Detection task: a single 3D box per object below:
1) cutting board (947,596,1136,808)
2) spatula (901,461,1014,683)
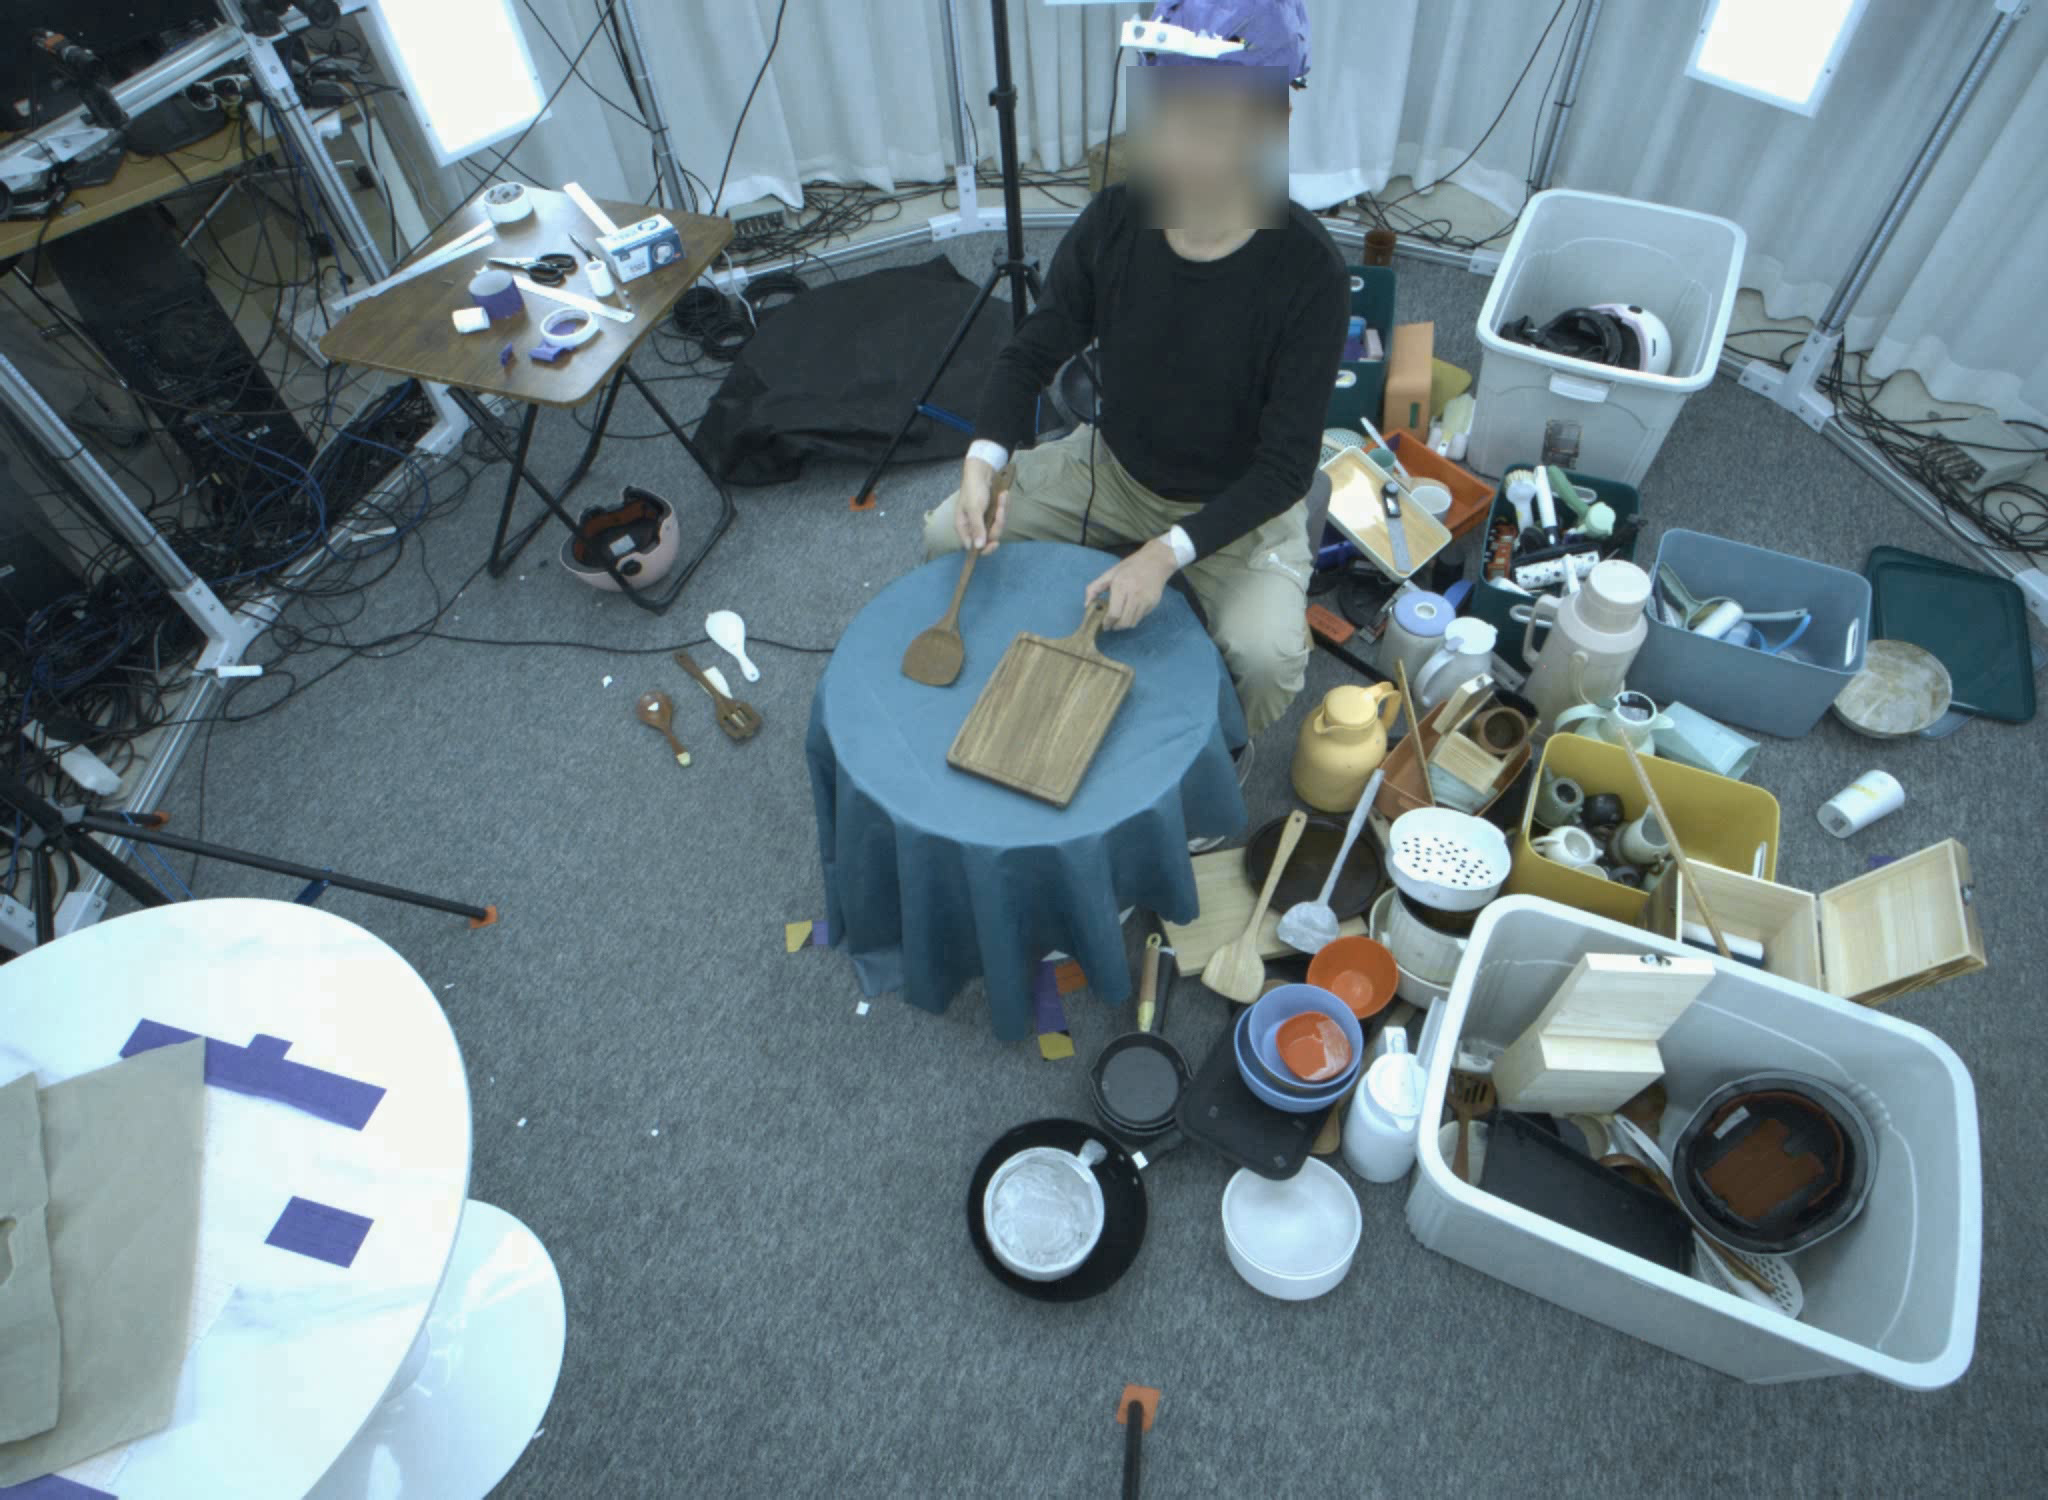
[{"bbox_3d":[0.048,-0.089,1.815,0.198,0.023,0.352,20,64,15],"label":"cutting board"},{"bbox_3d":[-0.089,-0.283,1.903,0.095,0.016,0.385,17,80,15],"label":"spatula"}]
